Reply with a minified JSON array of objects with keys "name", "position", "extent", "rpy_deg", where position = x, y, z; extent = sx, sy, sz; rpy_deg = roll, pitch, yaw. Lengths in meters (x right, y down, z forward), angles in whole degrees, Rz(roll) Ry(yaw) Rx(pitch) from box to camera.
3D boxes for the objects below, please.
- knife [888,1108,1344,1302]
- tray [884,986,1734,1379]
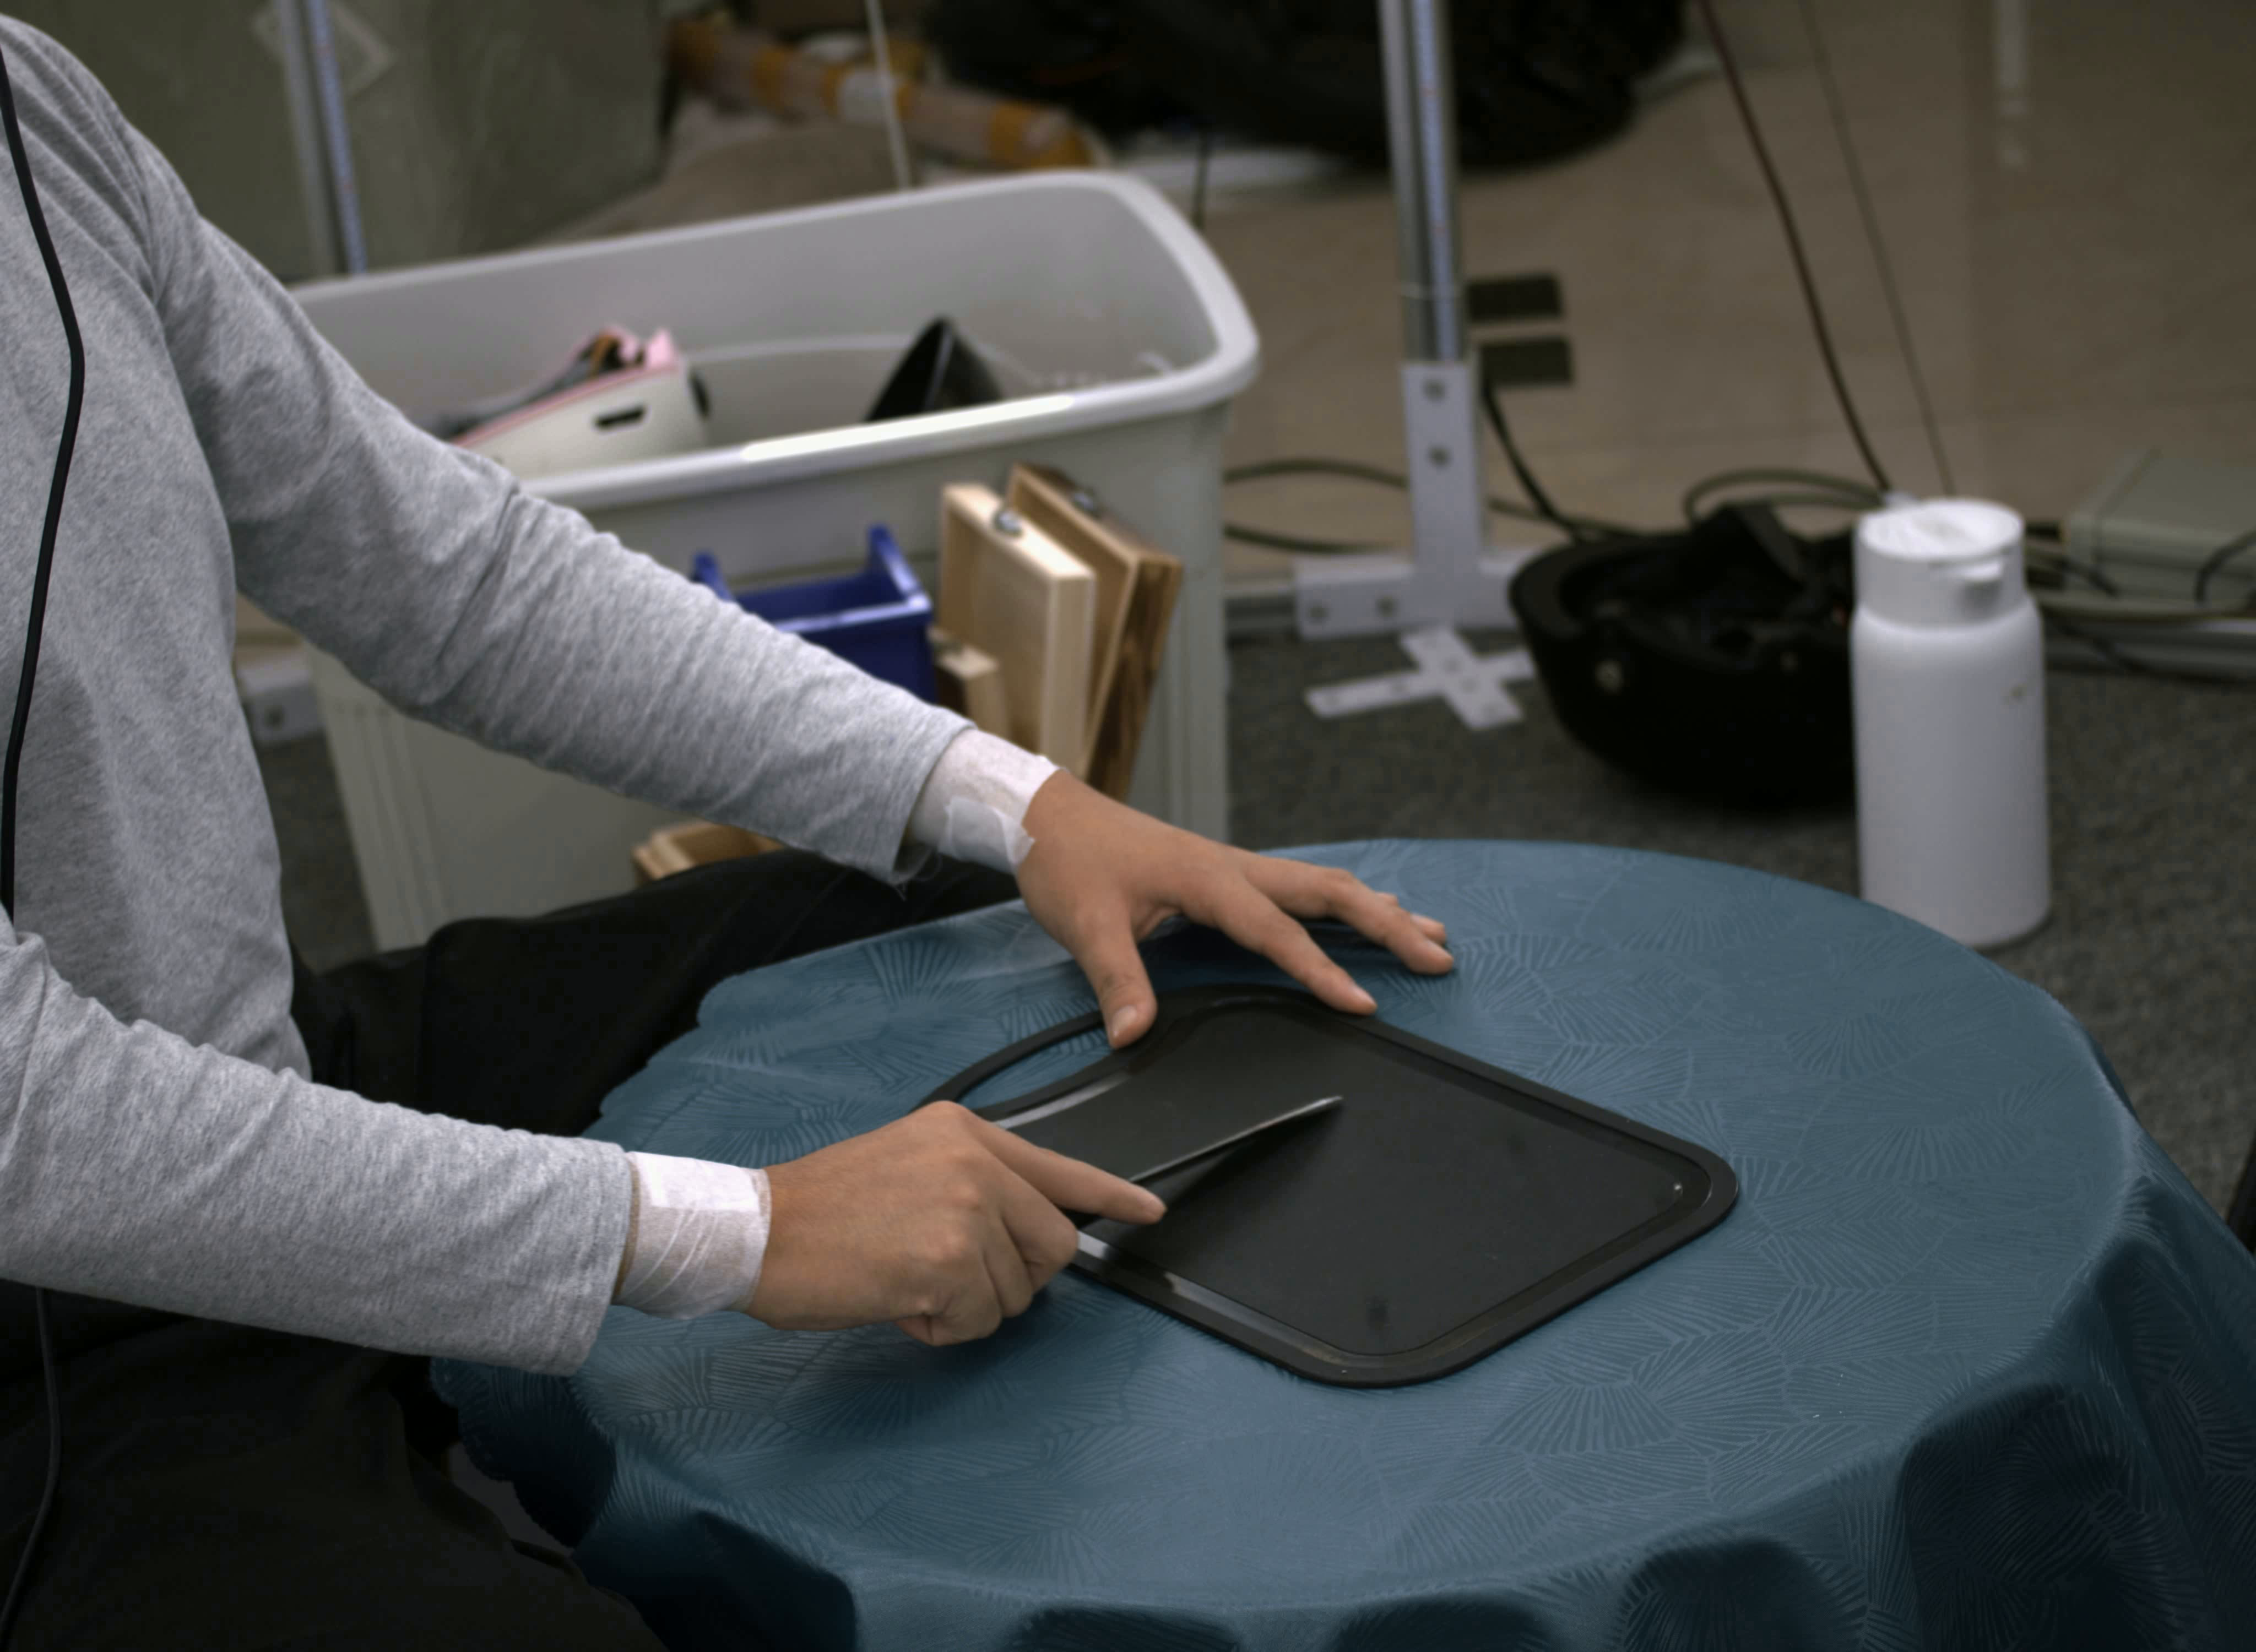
[{"name":"knife","position":[0.002,0.136,2.115],"extent":[0.236,0.016,0.025],"rpy_deg":[-18,-12,-42]},{"name":"tray","position":[0.058,0.128,2.155],"extent":[0.209,0.010,0.322],"rpy_deg":[-25,30,-34]}]
